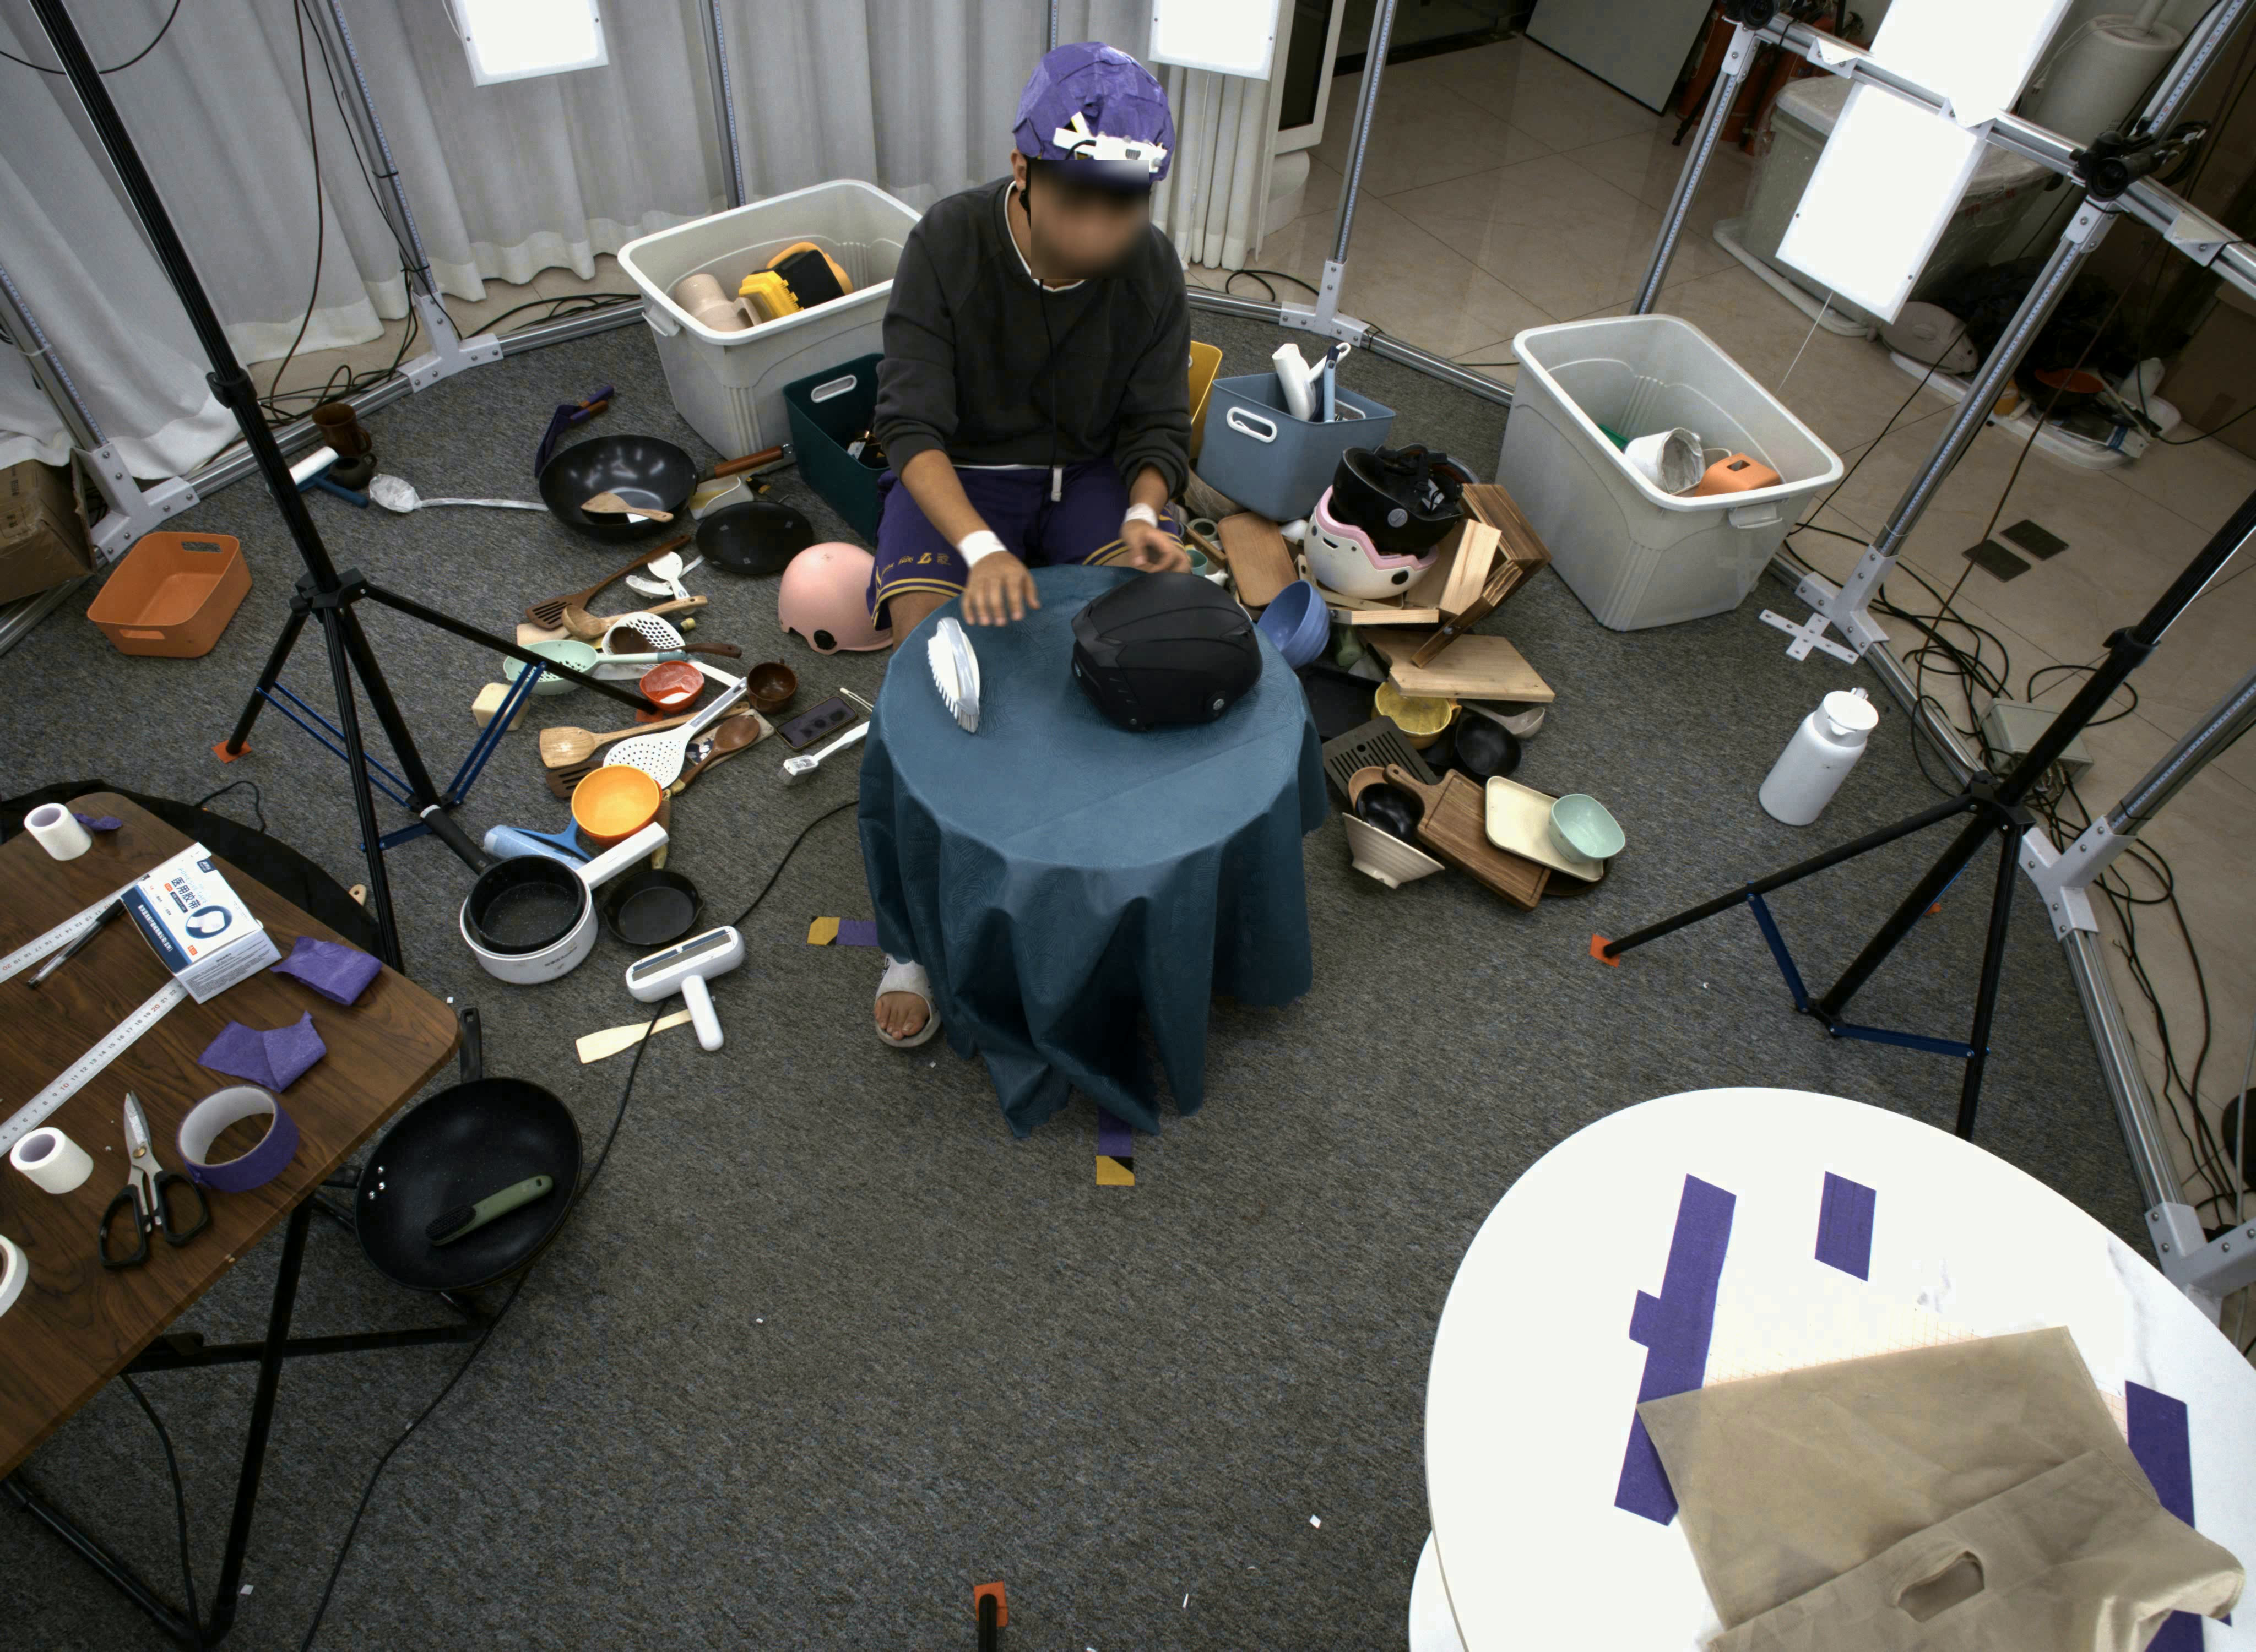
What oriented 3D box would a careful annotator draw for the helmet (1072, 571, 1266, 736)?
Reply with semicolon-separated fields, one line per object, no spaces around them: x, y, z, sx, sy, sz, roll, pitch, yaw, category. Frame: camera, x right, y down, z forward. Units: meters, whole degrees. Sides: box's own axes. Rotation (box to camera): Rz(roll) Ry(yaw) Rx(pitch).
0.056;-0.263;1.796;0.277;0.168;0.252;-16;53;-12;helmet

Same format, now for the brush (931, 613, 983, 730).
-0.233;-0.222;1.785;0.061;0.092;0.180;-11;52;-12;brush
